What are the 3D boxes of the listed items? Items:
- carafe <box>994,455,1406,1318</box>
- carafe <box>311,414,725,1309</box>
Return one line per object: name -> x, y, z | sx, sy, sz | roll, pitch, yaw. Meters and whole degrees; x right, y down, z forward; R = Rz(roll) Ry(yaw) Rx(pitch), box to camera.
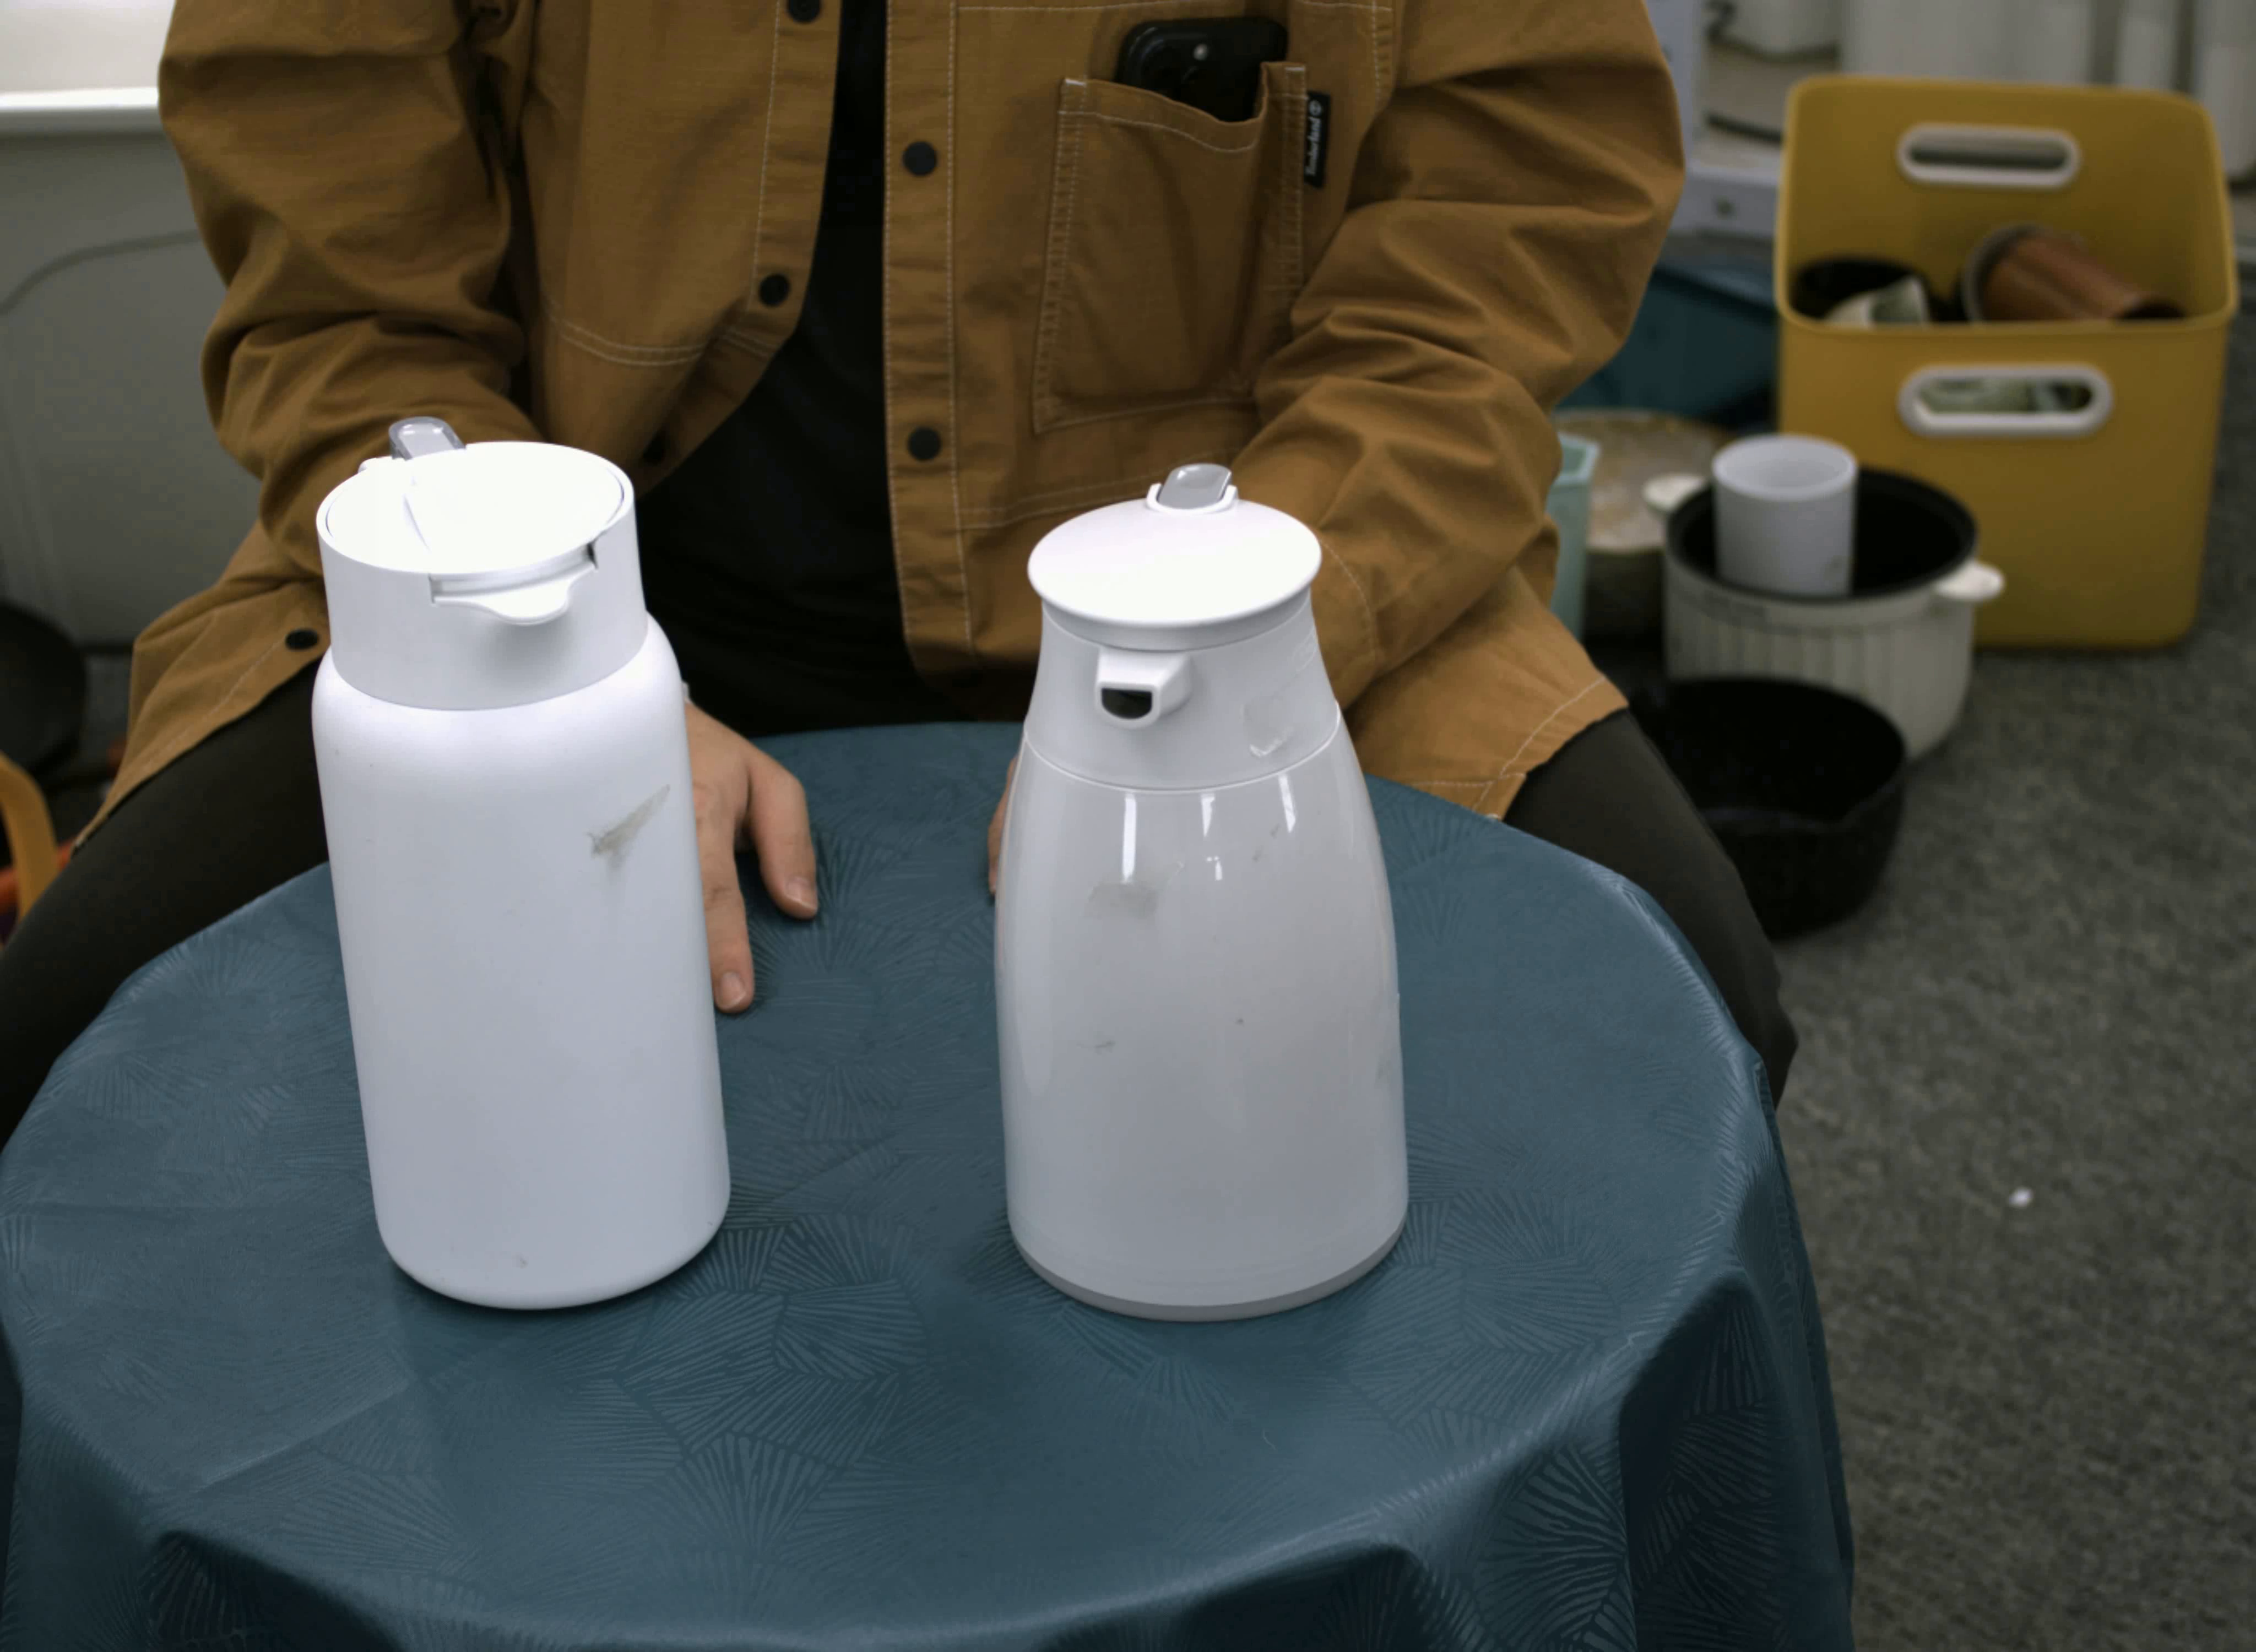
carafe -> 0.024, 0.008, 1.807 | 0.131, 0.246, 0.170 | 4, 26, 13
carafe -> -0.204, 0.008, 1.811 | 0.124, 0.266, 0.174 | -15, 28, -18
